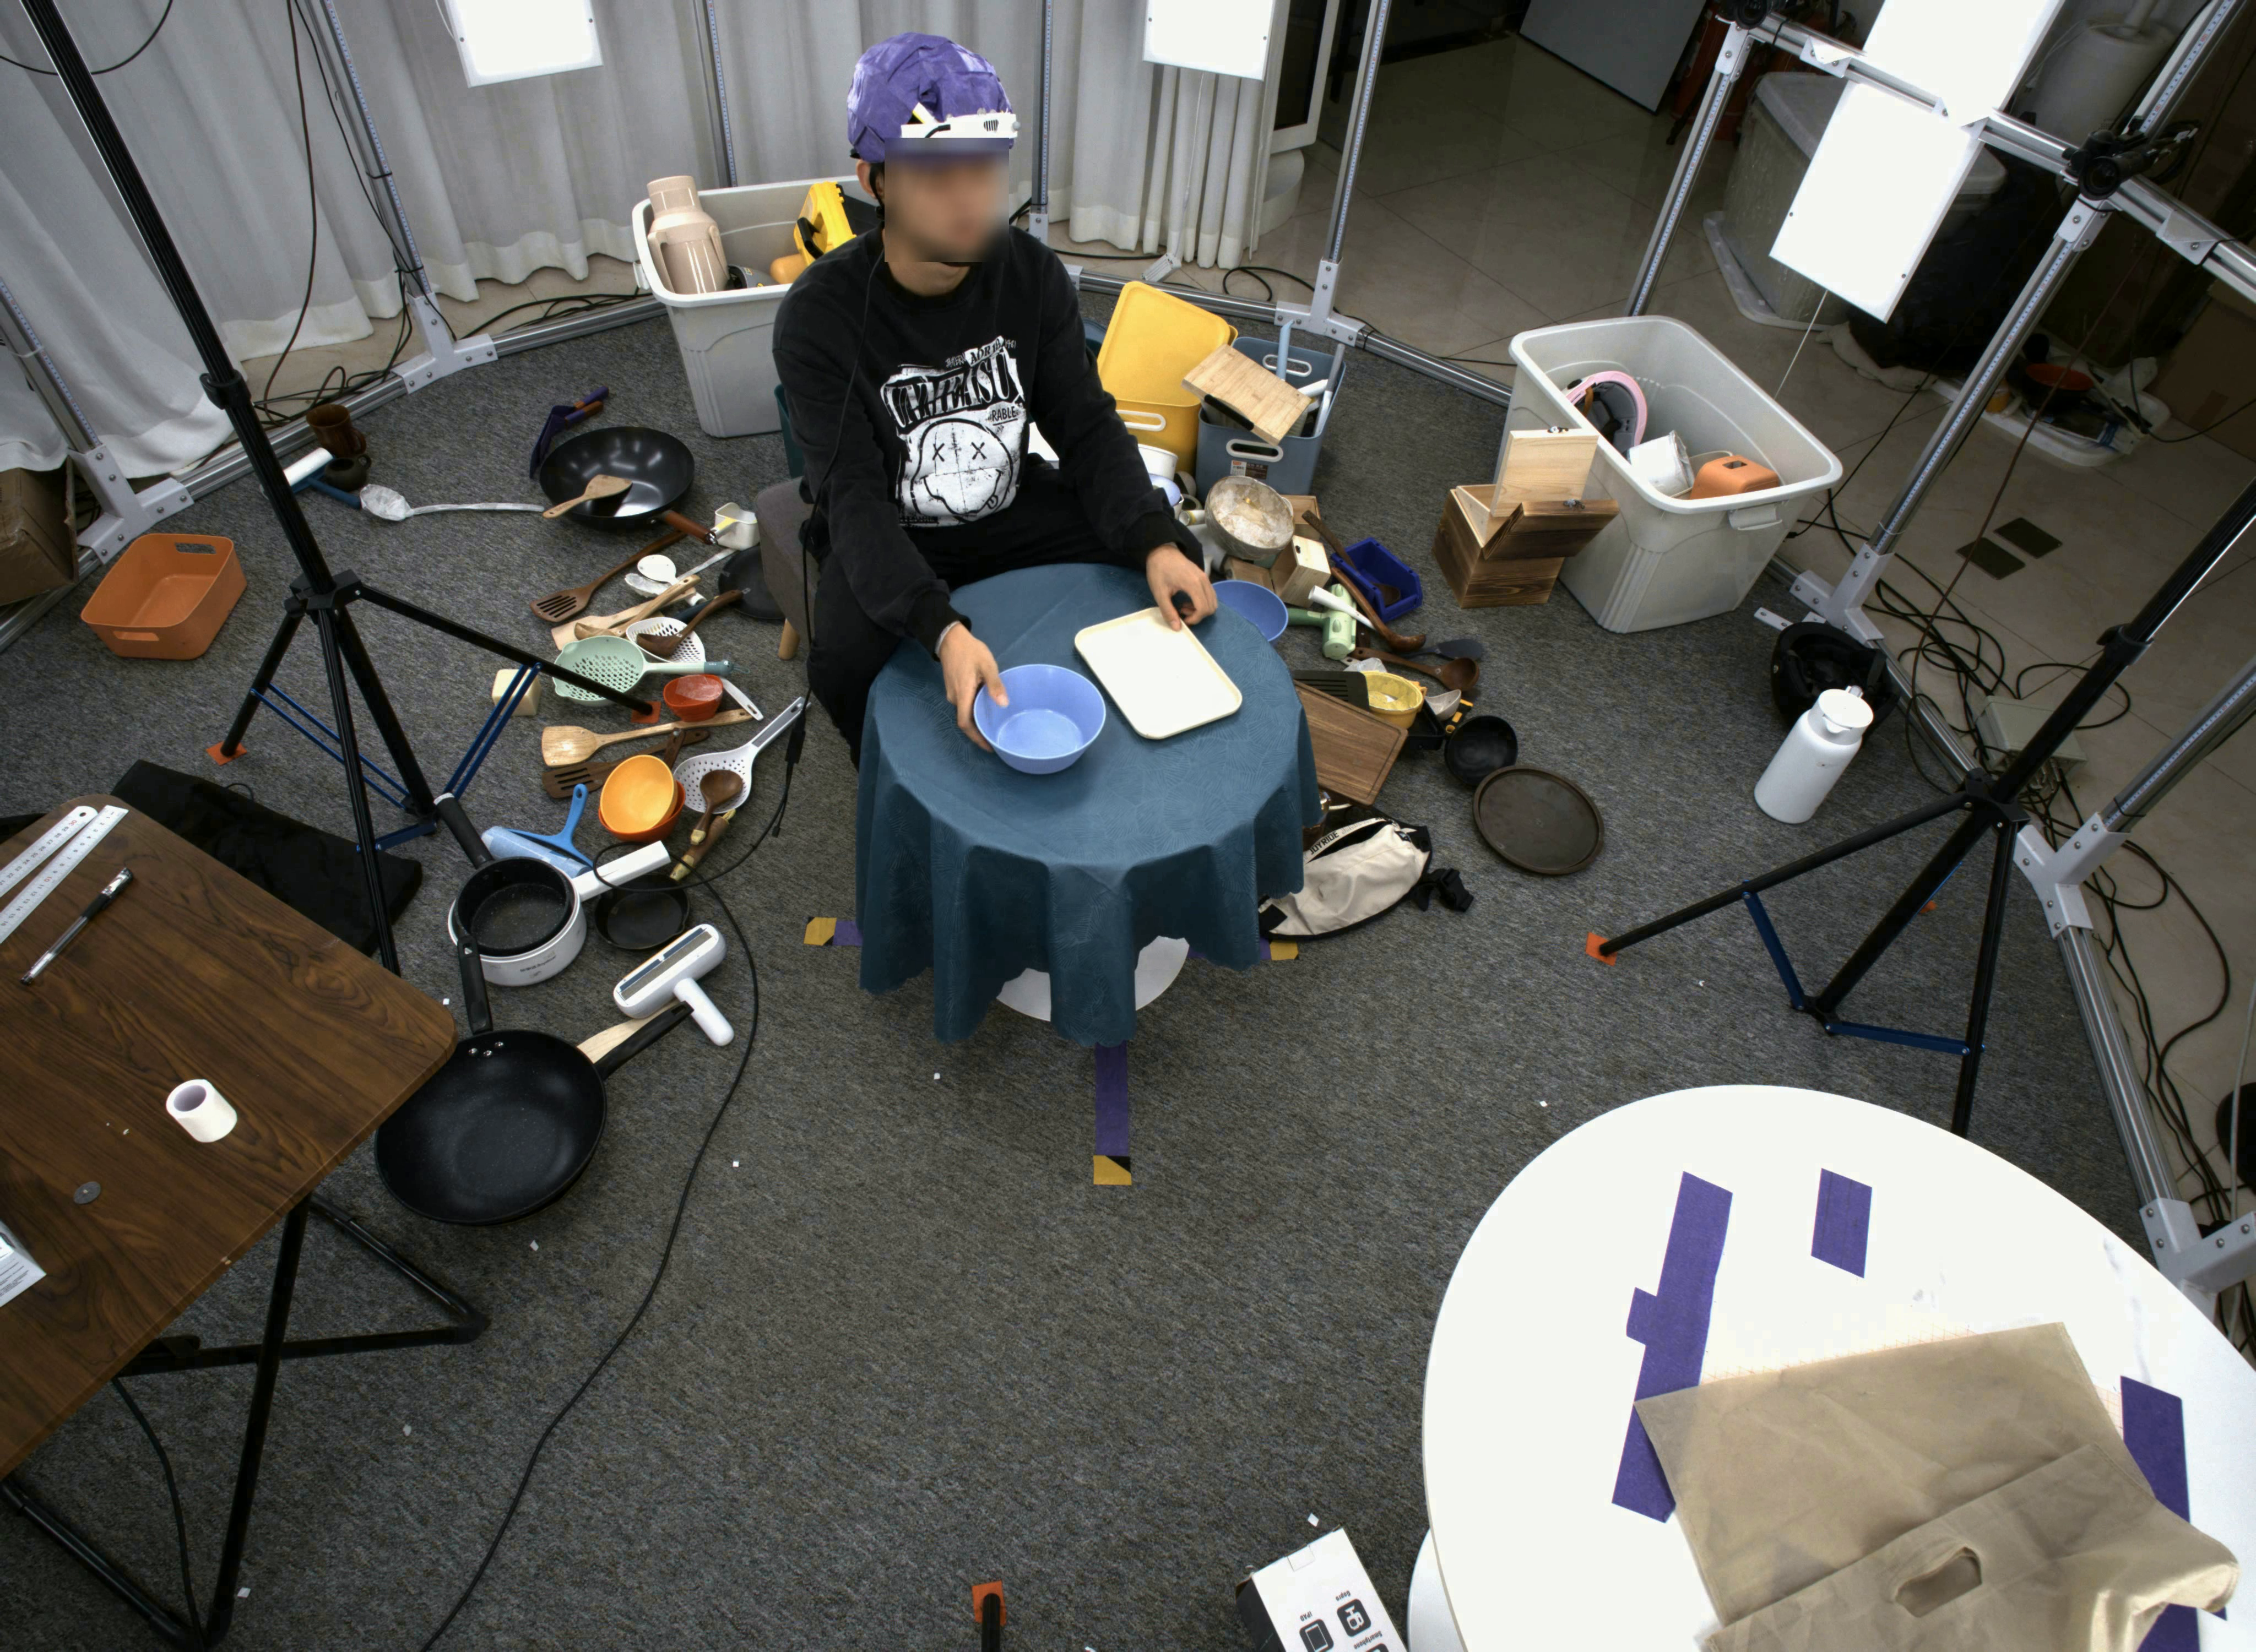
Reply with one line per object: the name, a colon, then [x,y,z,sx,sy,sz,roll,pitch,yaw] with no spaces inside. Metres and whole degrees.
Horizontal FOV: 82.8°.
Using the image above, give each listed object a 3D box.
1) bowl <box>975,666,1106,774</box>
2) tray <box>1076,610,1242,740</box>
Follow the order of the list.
bowl: [-0.120,-0.135,1.748,0.176,0.068,0.180,2,49,-3]
tray: [0.043,-0.221,1.868,0.171,0.017,0.245,-19,53,-20]
